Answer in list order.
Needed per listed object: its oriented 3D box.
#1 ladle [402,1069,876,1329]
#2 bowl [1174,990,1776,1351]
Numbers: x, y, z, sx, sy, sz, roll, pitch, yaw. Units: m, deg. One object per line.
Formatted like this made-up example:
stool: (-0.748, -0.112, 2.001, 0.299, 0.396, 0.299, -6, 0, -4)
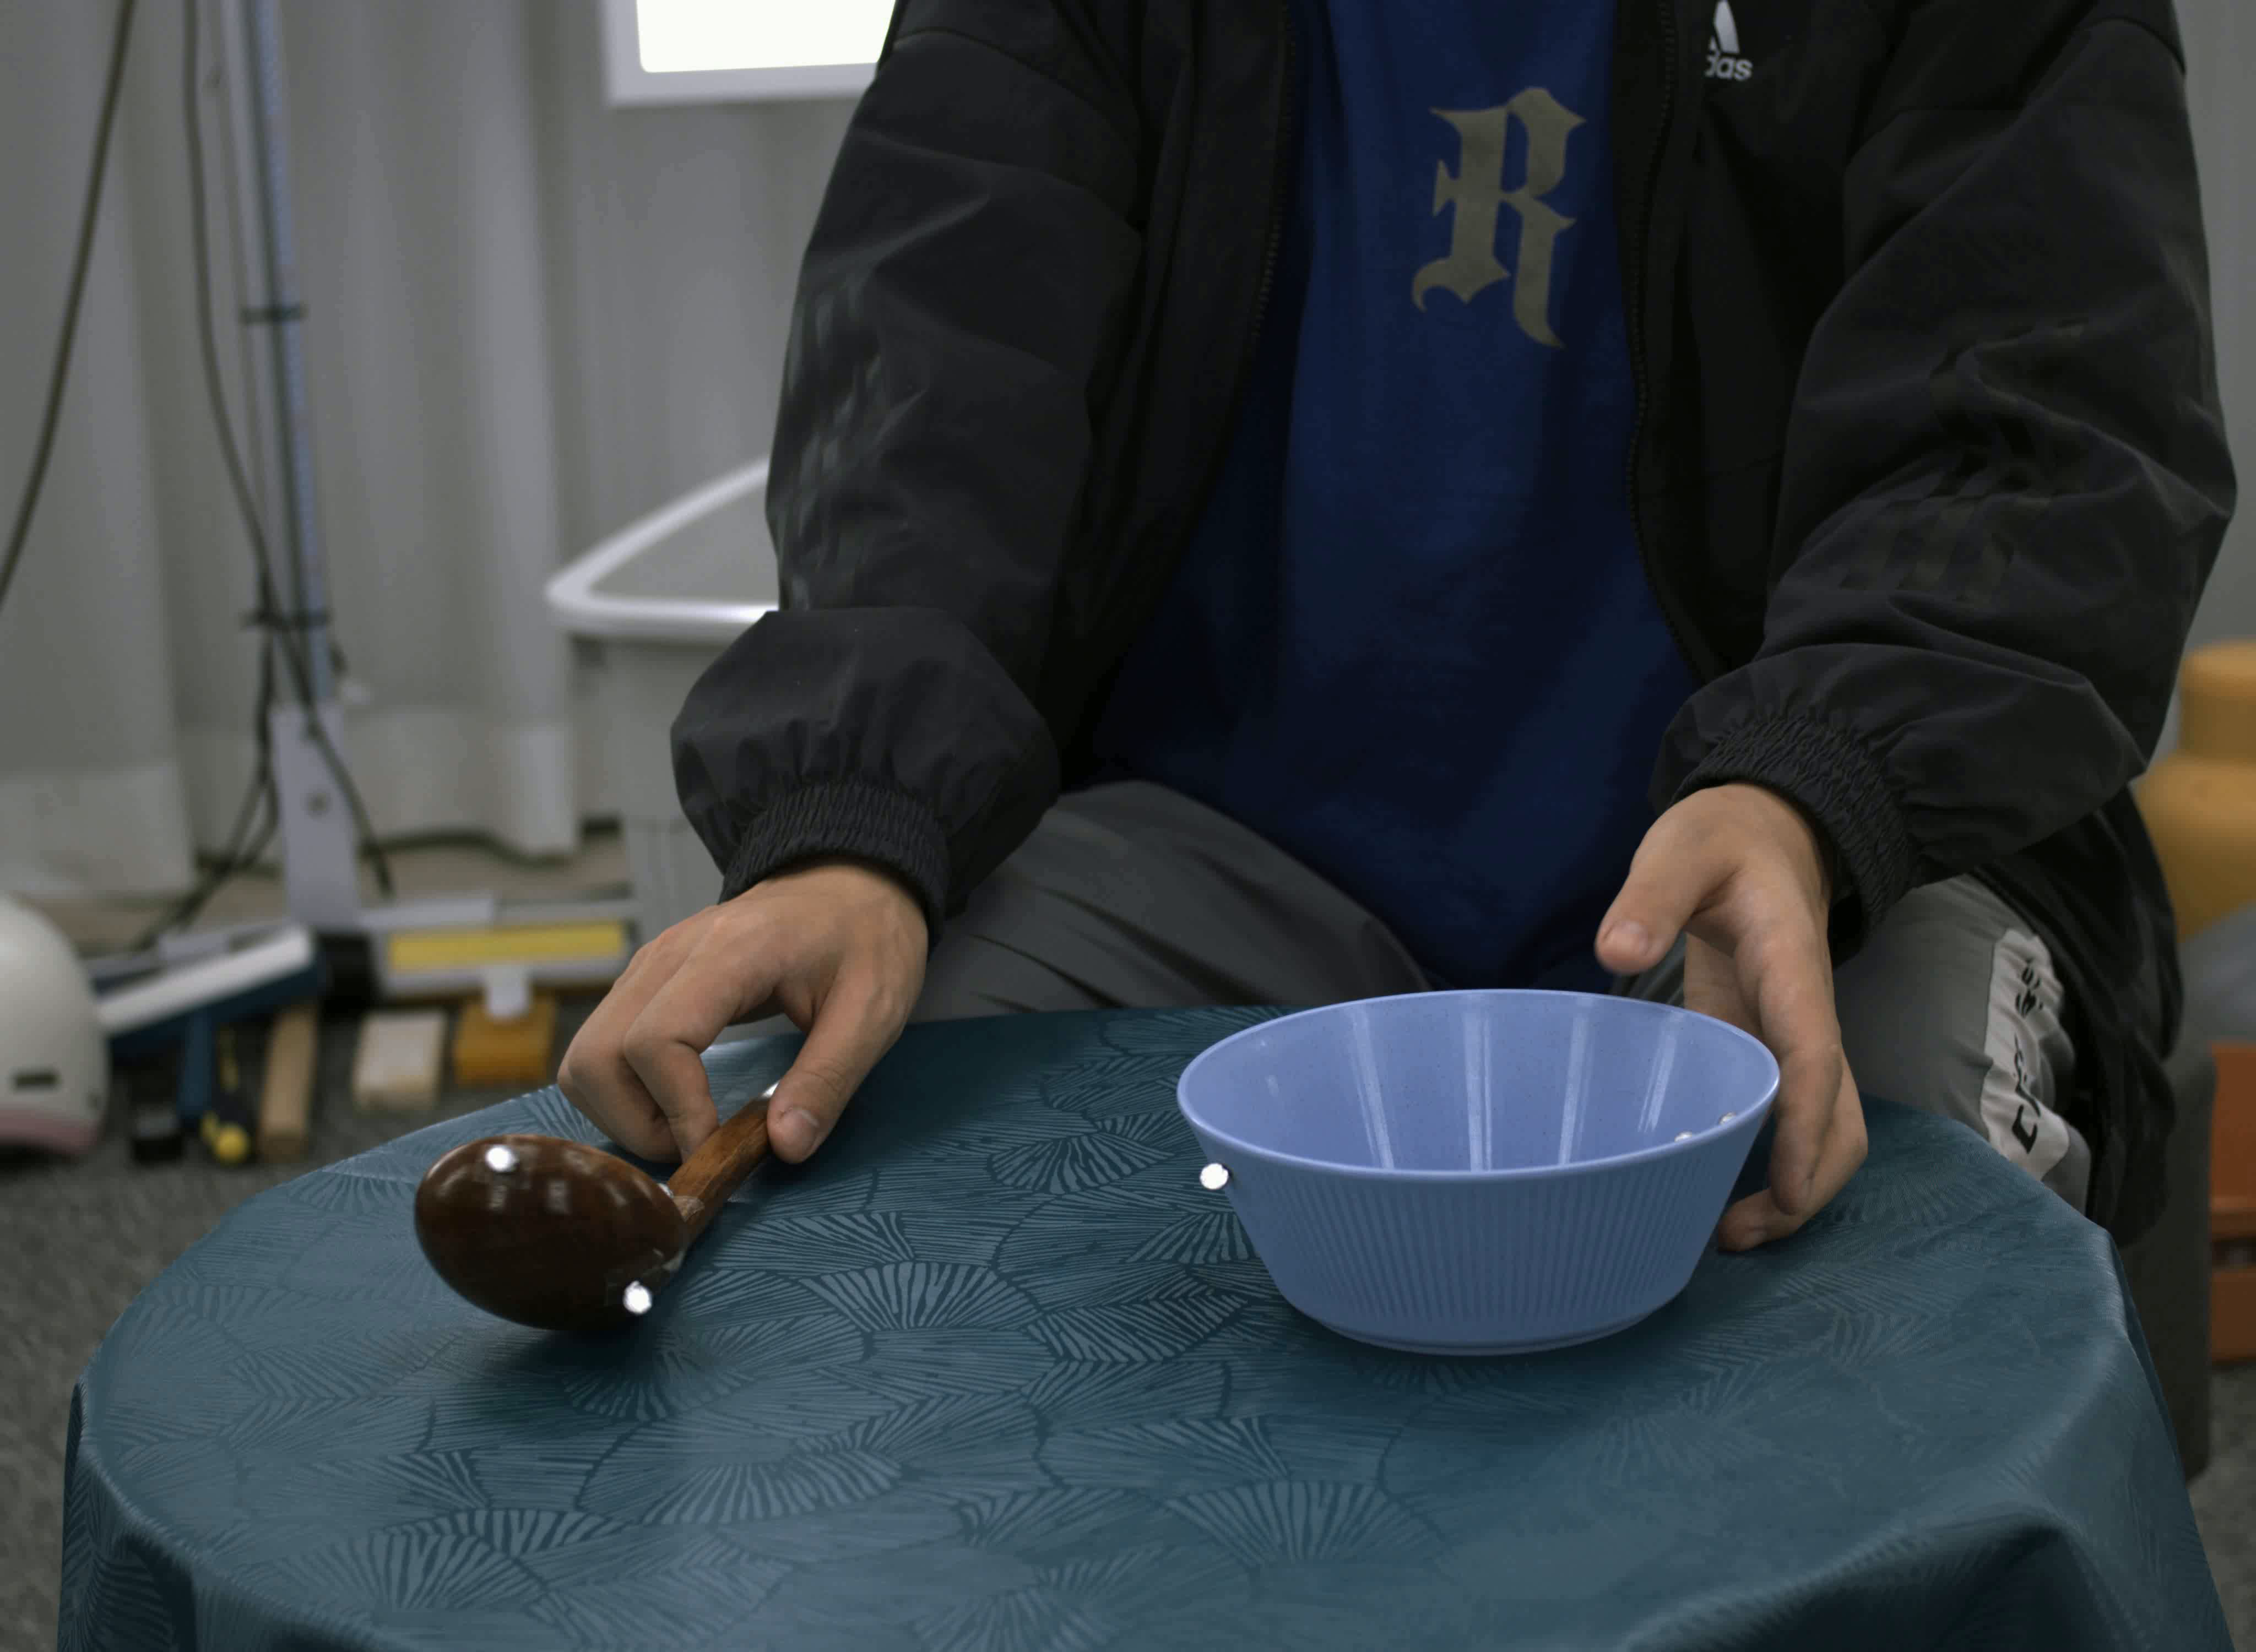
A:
ladle: (-0.140, 0.090, 1.682, 0.082, 0.076, 0.275, 2, 16, 17)
bowl: (0.102, 0.103, 1.598, 0.175, 0.070, 0.177, -2, 14, 0)
